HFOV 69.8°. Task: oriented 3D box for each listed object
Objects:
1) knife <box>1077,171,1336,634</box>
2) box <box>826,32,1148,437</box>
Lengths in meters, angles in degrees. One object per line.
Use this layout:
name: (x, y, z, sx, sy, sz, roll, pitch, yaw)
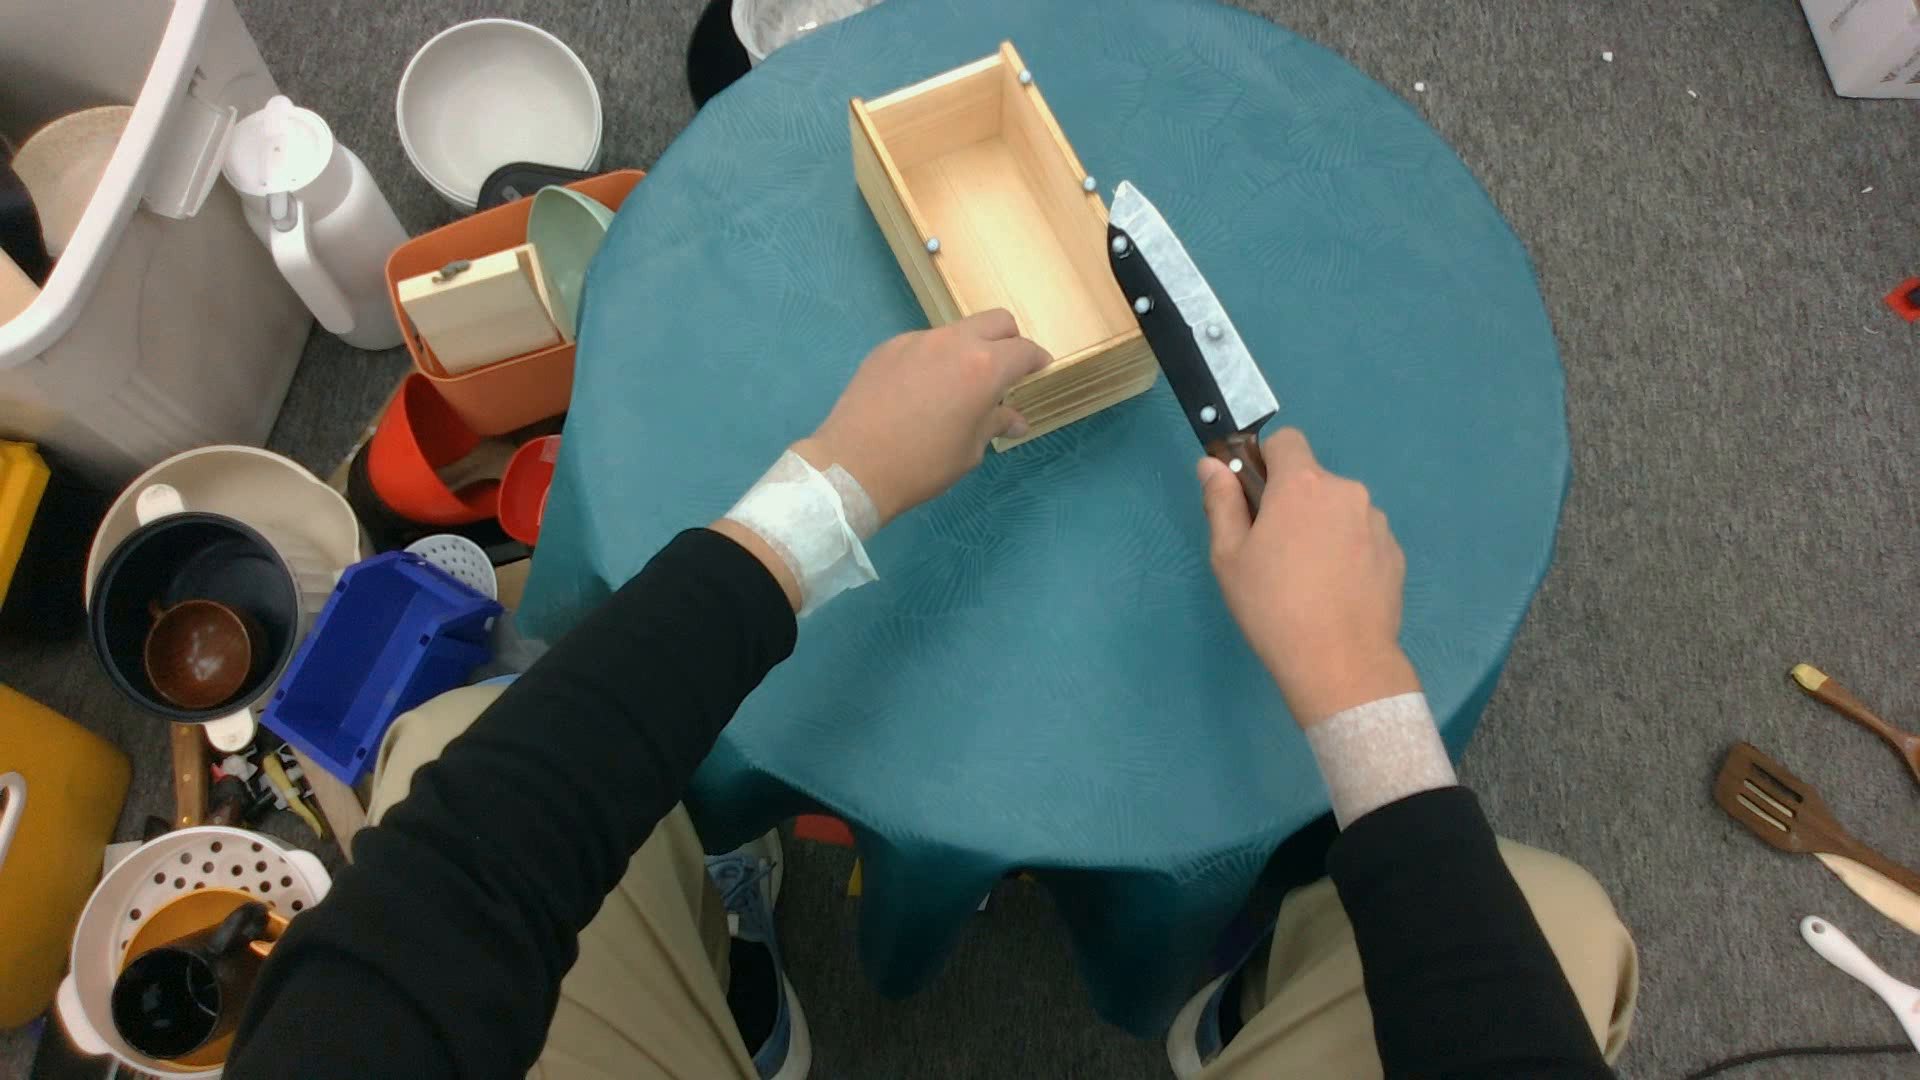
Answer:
knife: (0.126, -0.082, 0.728, 0.050, 0.020, 0.290, -29, 68, 18)
box: (0.012, -0.182, 0.818, 0.107, 0.080, 0.212, -24, 71, -10)
